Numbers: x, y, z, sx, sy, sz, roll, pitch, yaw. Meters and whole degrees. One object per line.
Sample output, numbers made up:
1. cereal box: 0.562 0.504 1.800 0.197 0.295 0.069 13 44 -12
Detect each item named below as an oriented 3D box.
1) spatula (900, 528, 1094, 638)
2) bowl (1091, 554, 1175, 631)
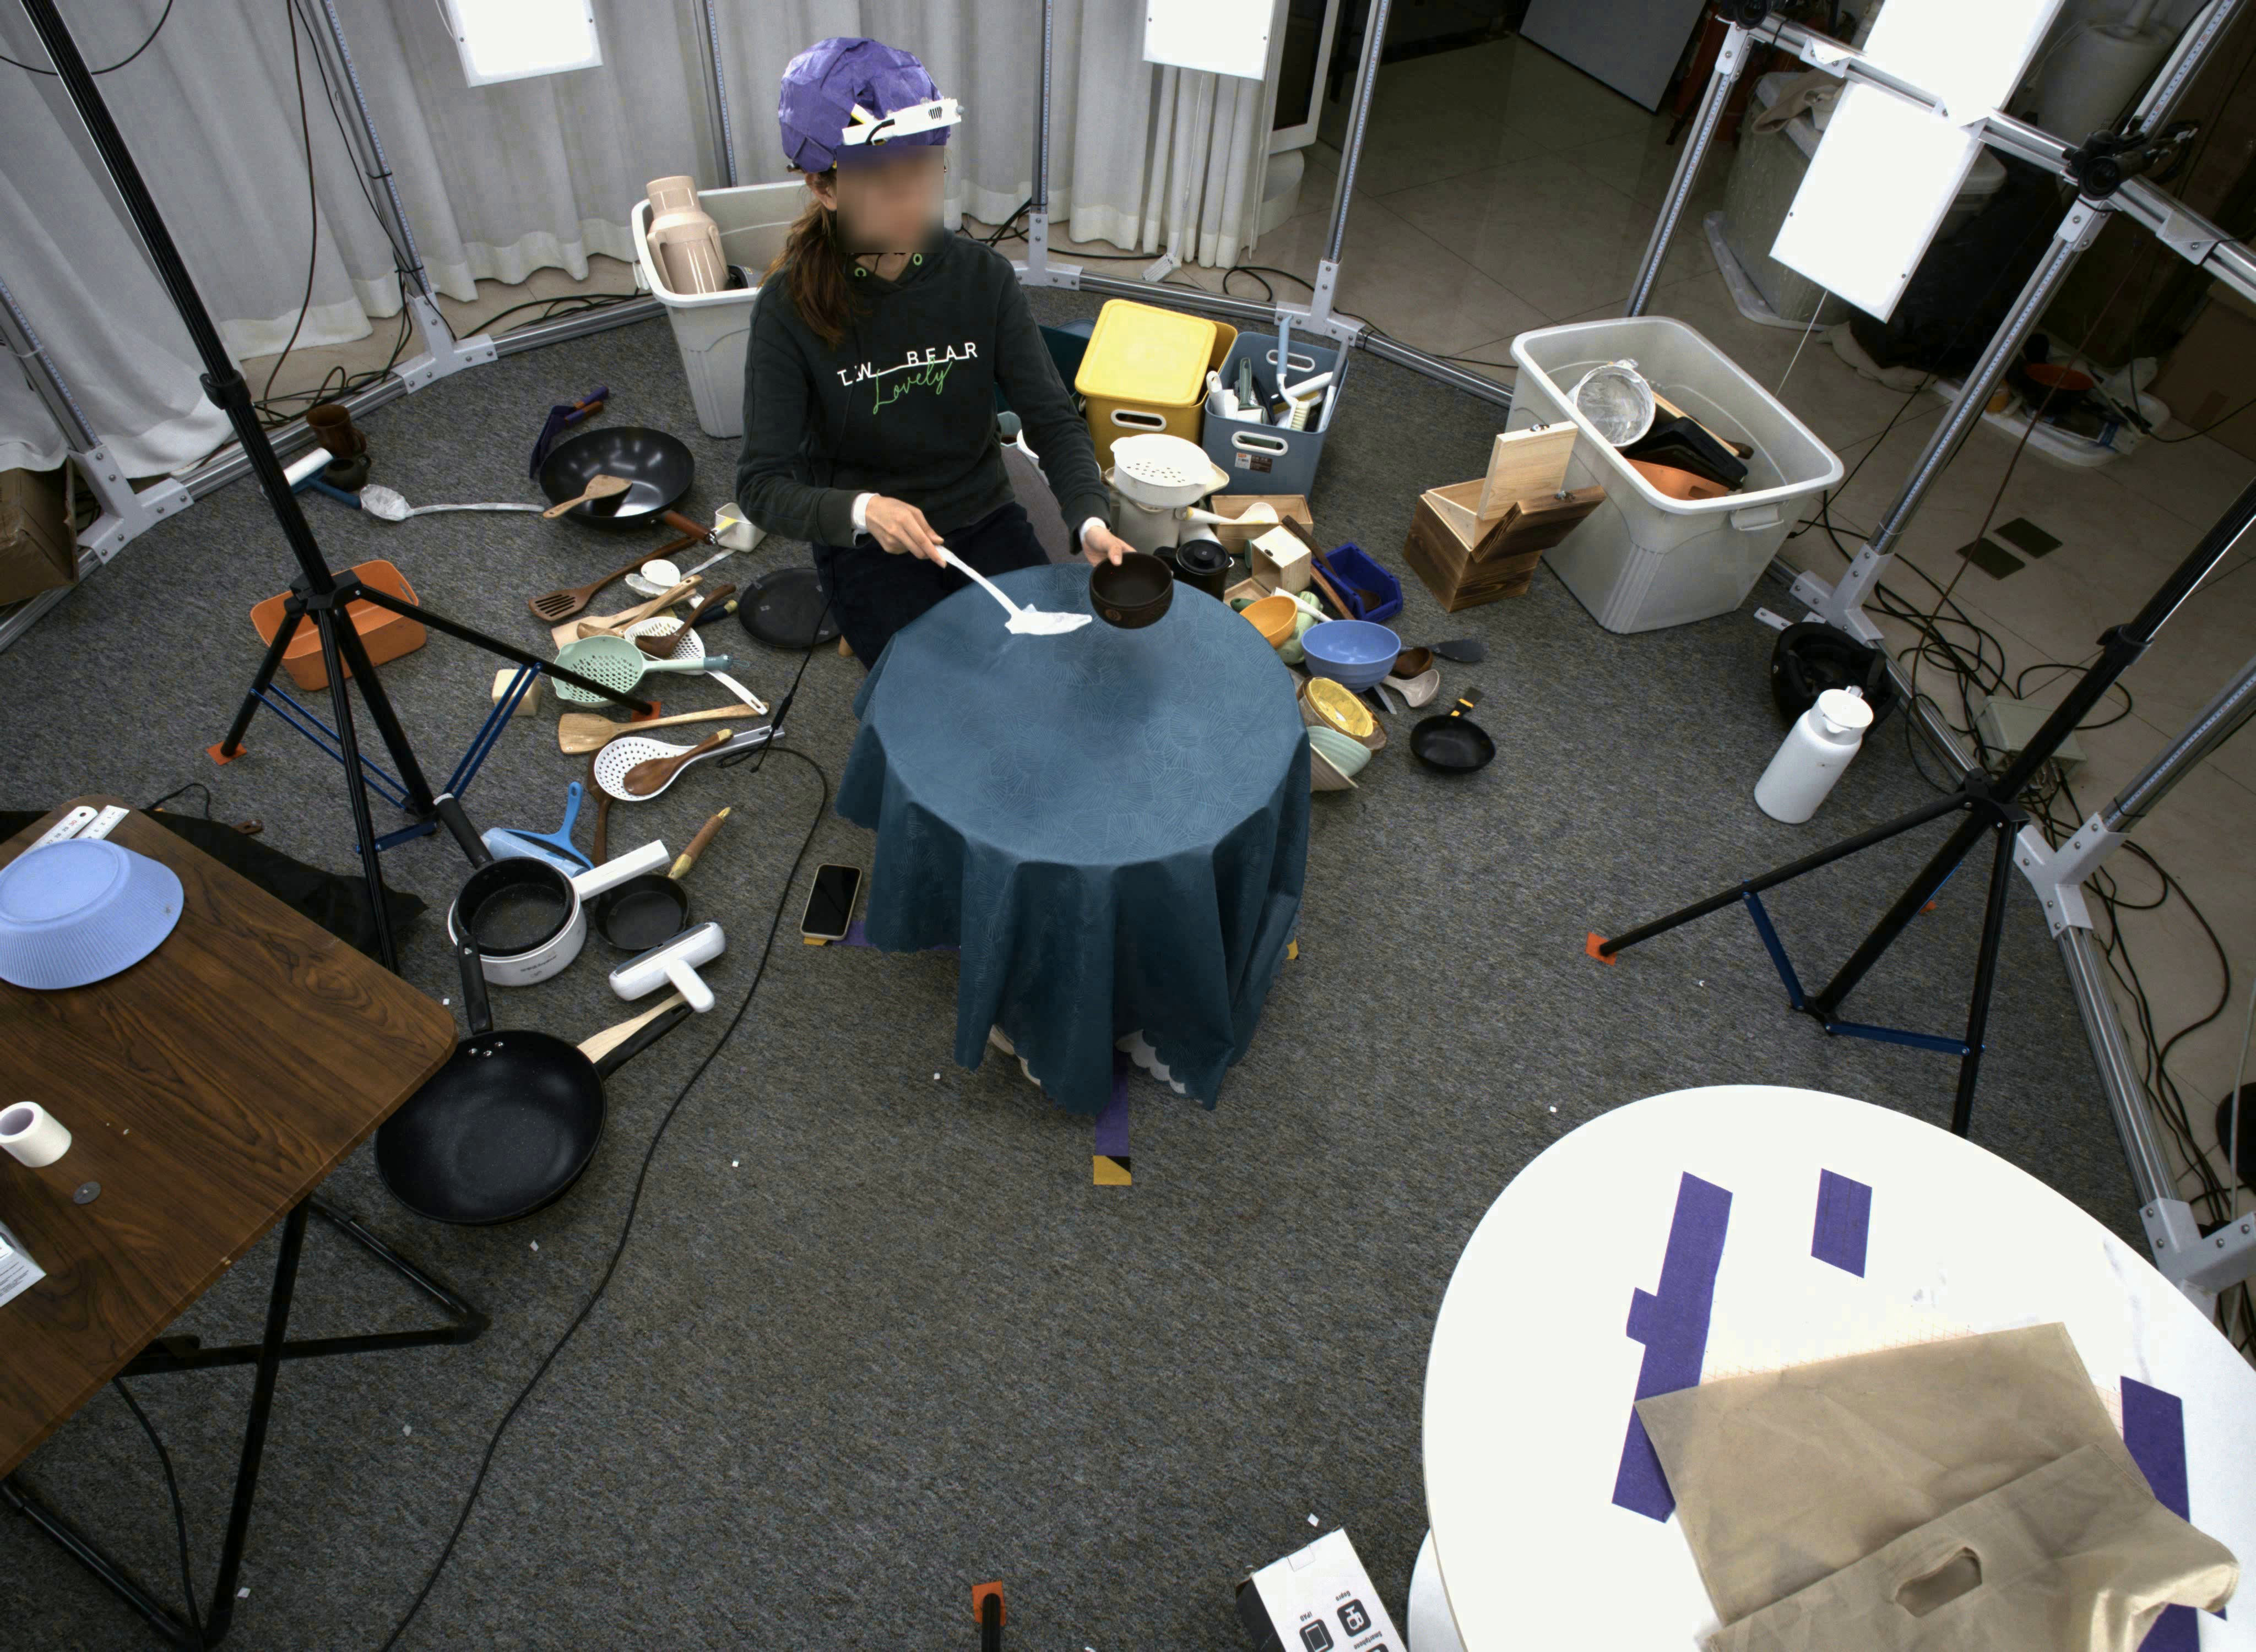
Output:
1. spatula: -0.196 -0.333 1.731 0.099 0.044 0.371 -26 53 -37
2. bowl: 0.008 -0.321 1.817 0.118 0.068 0.121 -2 48 2
